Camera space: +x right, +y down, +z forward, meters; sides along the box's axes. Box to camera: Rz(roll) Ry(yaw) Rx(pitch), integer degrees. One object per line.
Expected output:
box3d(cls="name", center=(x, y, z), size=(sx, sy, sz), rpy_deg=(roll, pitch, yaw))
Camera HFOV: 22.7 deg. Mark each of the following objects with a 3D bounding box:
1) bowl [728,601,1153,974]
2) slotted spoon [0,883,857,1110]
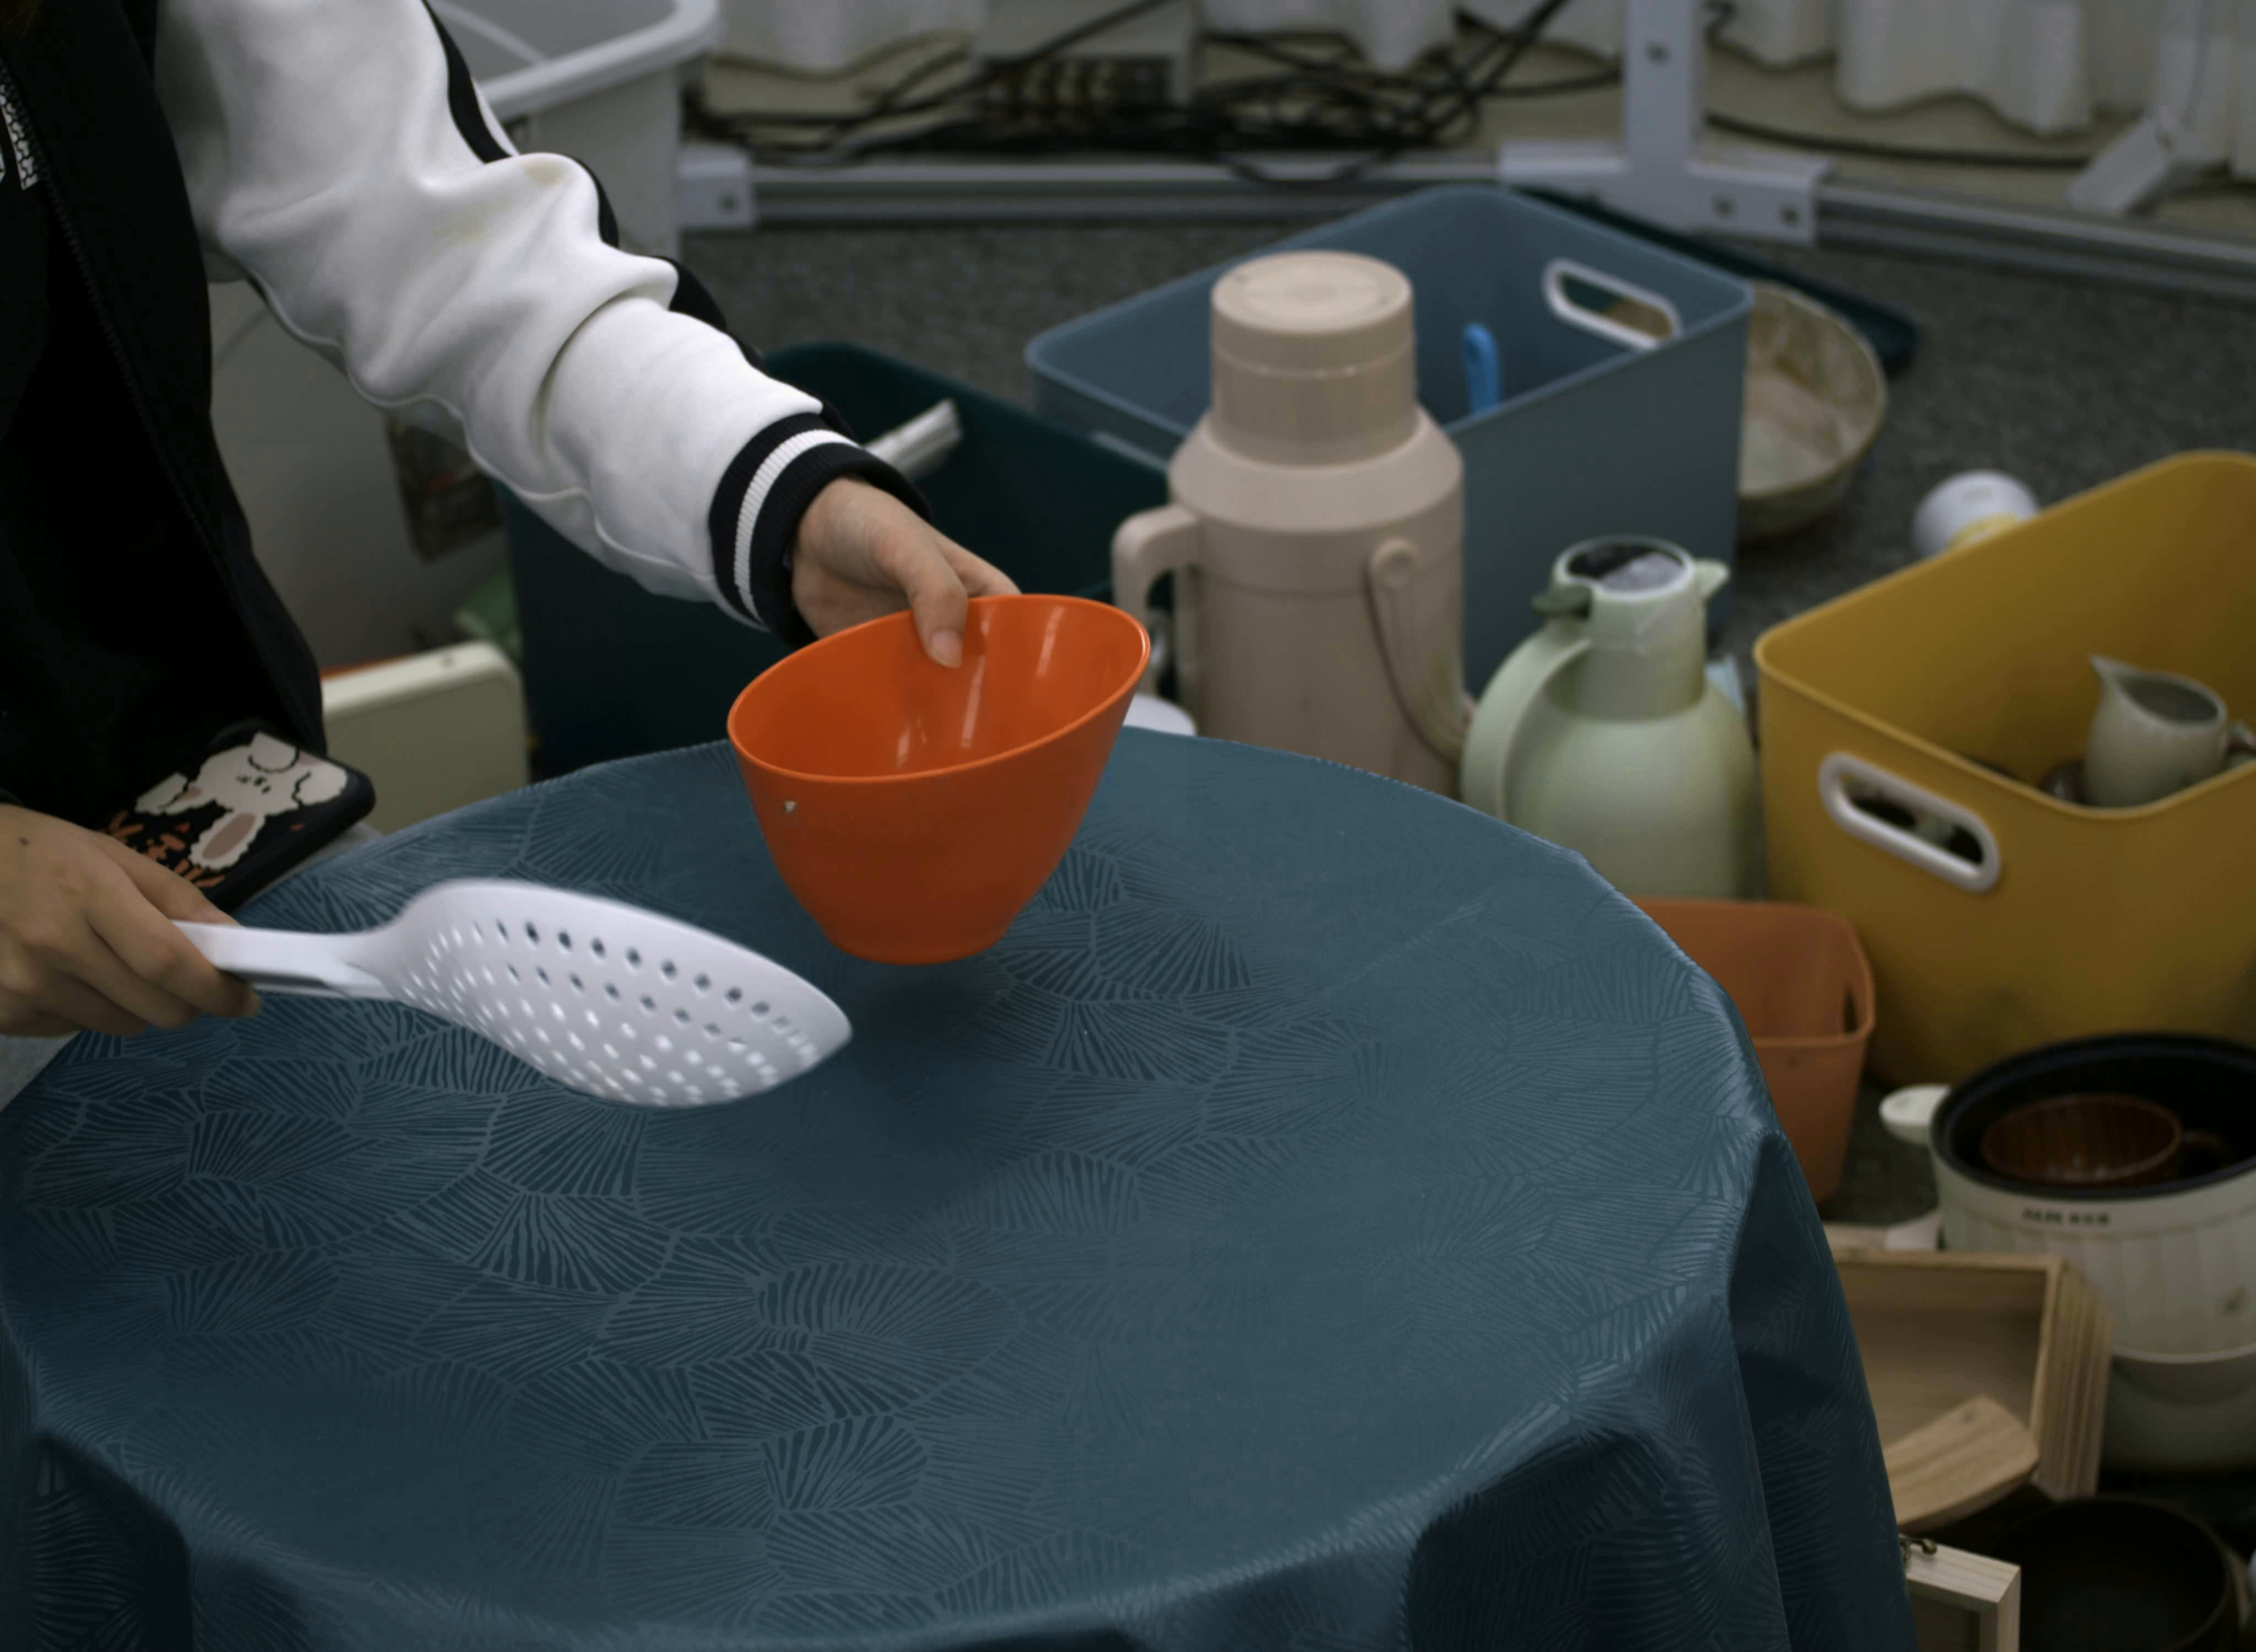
box3d(cls="bowl", center=(-0.064, -0.009, 1.944), size=(0.147, 0.103, 0.150), rpy_deg=(-1, 25, 1))
box3d(cls="slotted spoon", center=(-0.235, 0.047, 1.778), size=(0.347, 0.046, 0.135), rpy_deg=(9, -17, 39))
